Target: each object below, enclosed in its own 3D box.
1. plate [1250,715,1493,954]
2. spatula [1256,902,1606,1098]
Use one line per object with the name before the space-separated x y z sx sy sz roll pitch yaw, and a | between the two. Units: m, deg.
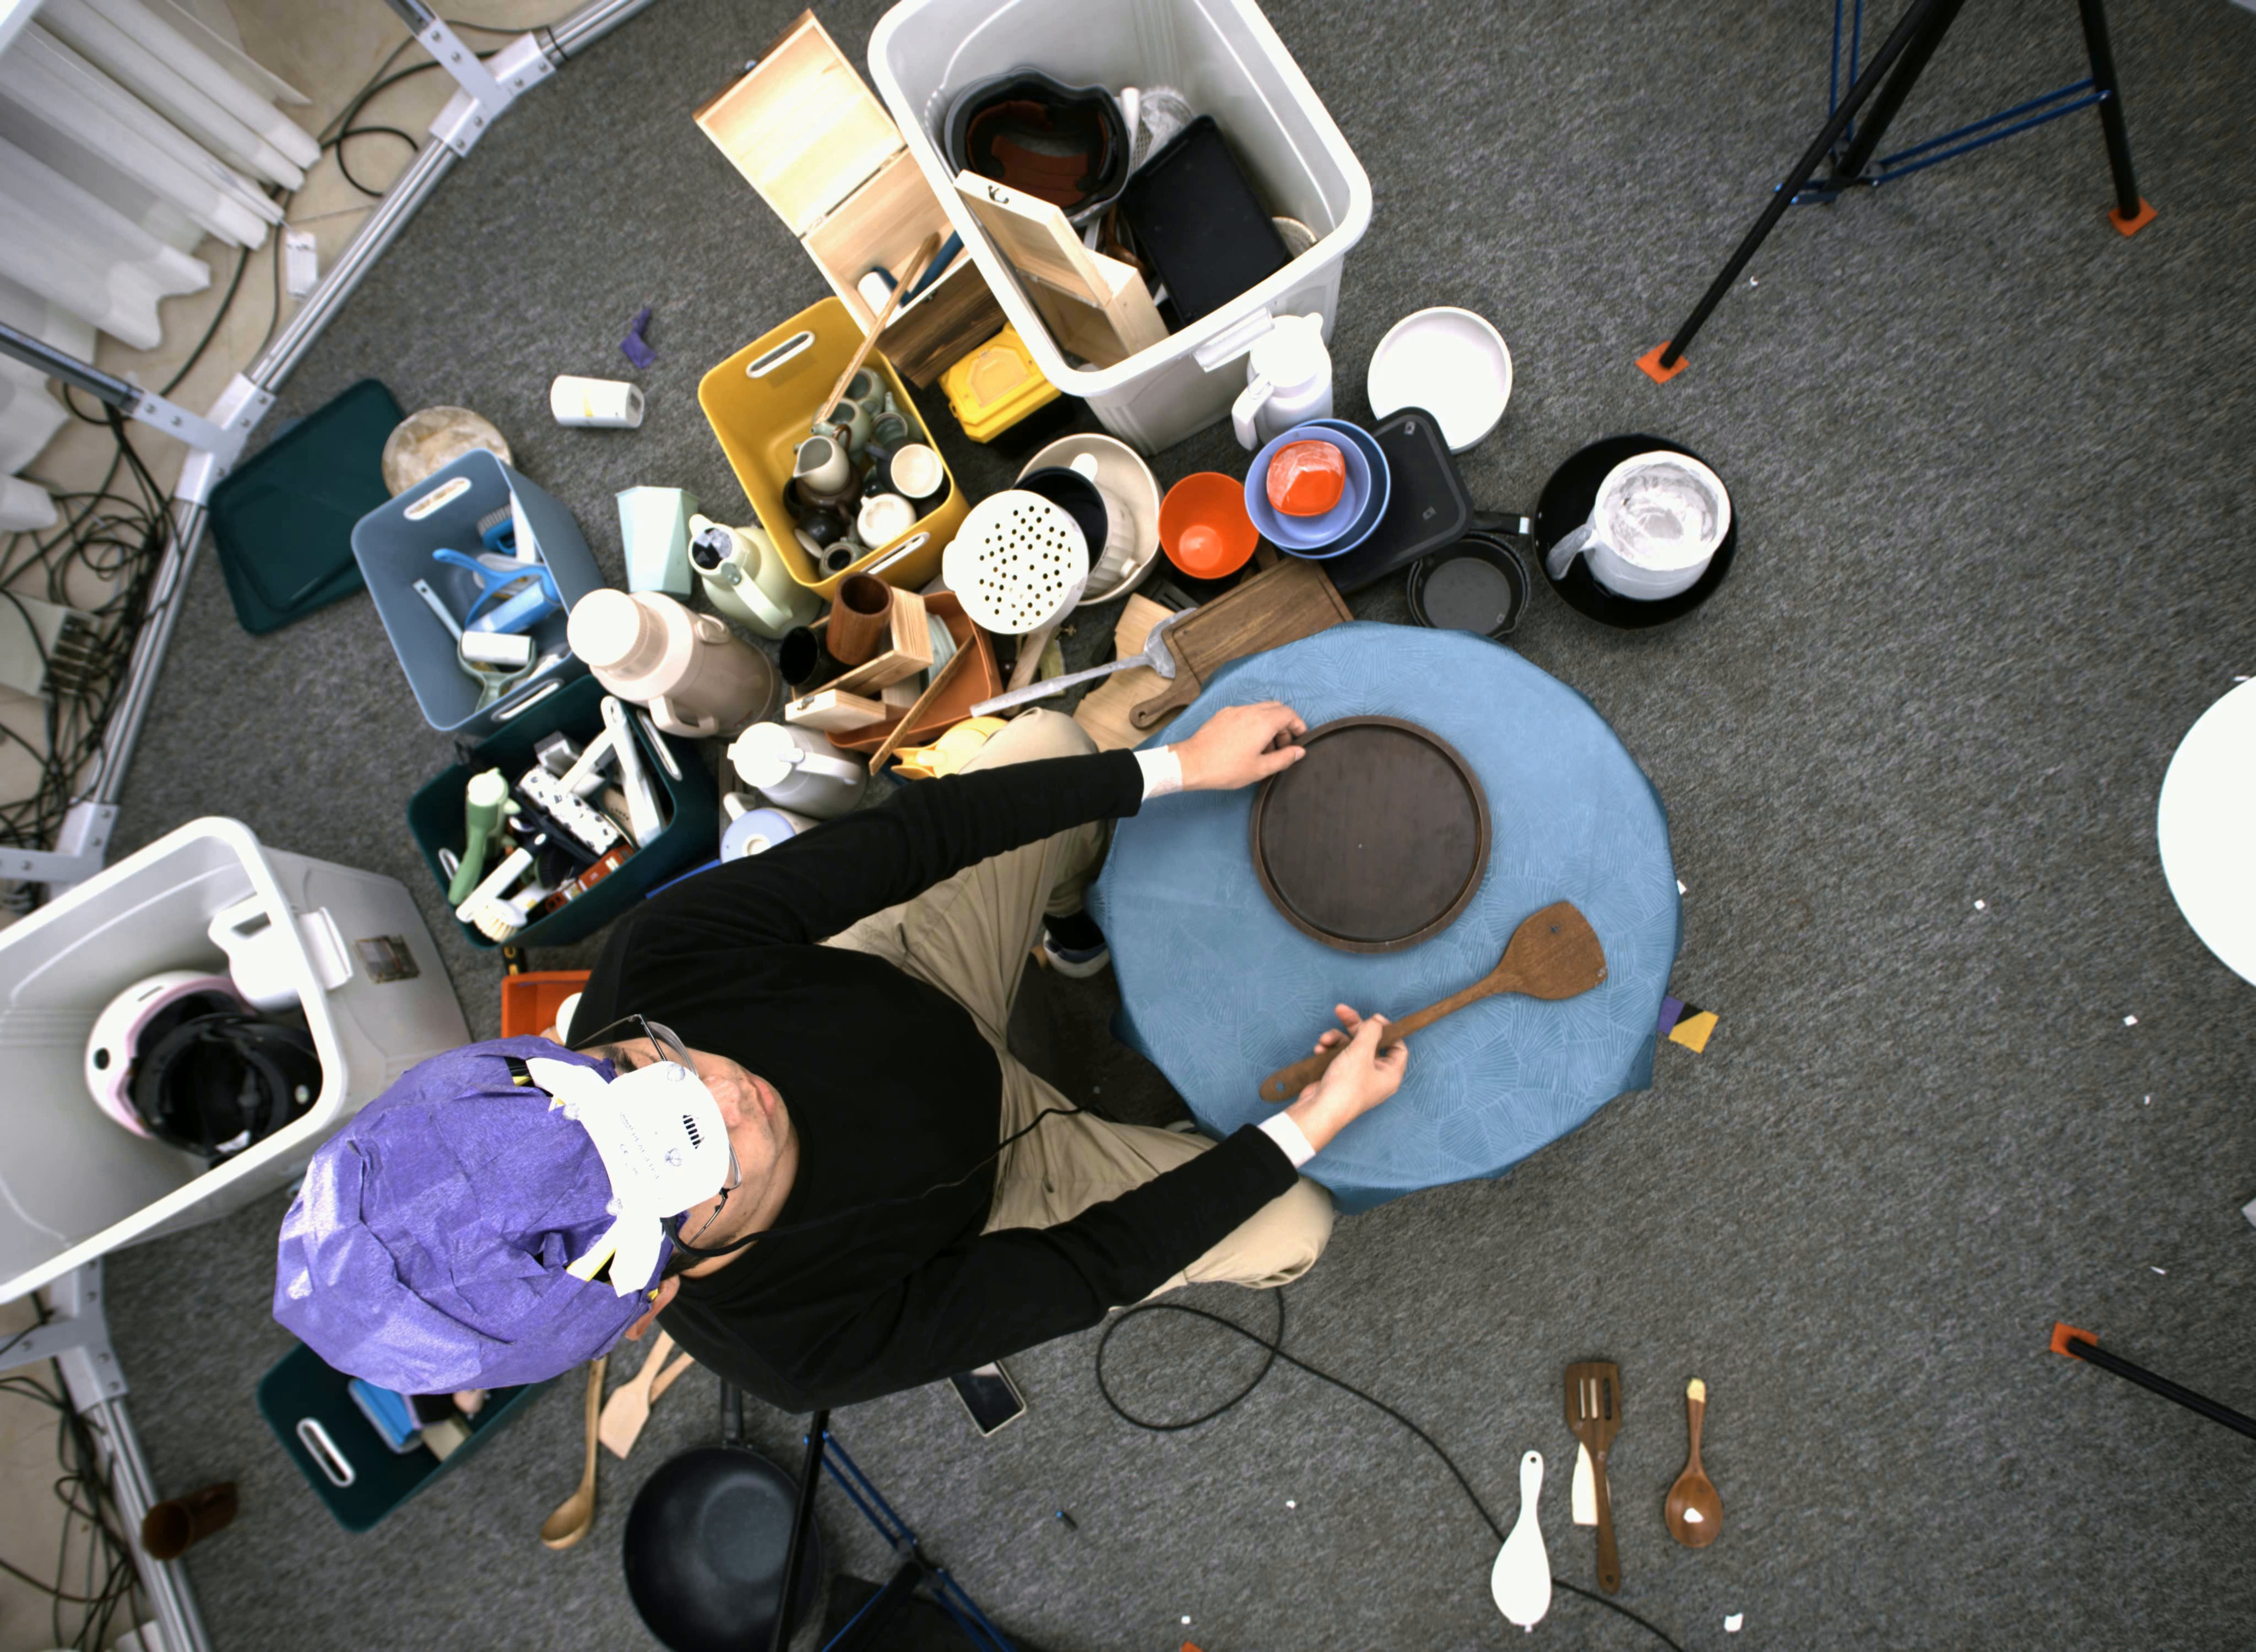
plate | 0.255 0.007 1.454 0.256 0.029 0.254 -1 88 10
spatula | 0.307 0.189 1.409 0.385 0.016 0.095 -24 82 -3
